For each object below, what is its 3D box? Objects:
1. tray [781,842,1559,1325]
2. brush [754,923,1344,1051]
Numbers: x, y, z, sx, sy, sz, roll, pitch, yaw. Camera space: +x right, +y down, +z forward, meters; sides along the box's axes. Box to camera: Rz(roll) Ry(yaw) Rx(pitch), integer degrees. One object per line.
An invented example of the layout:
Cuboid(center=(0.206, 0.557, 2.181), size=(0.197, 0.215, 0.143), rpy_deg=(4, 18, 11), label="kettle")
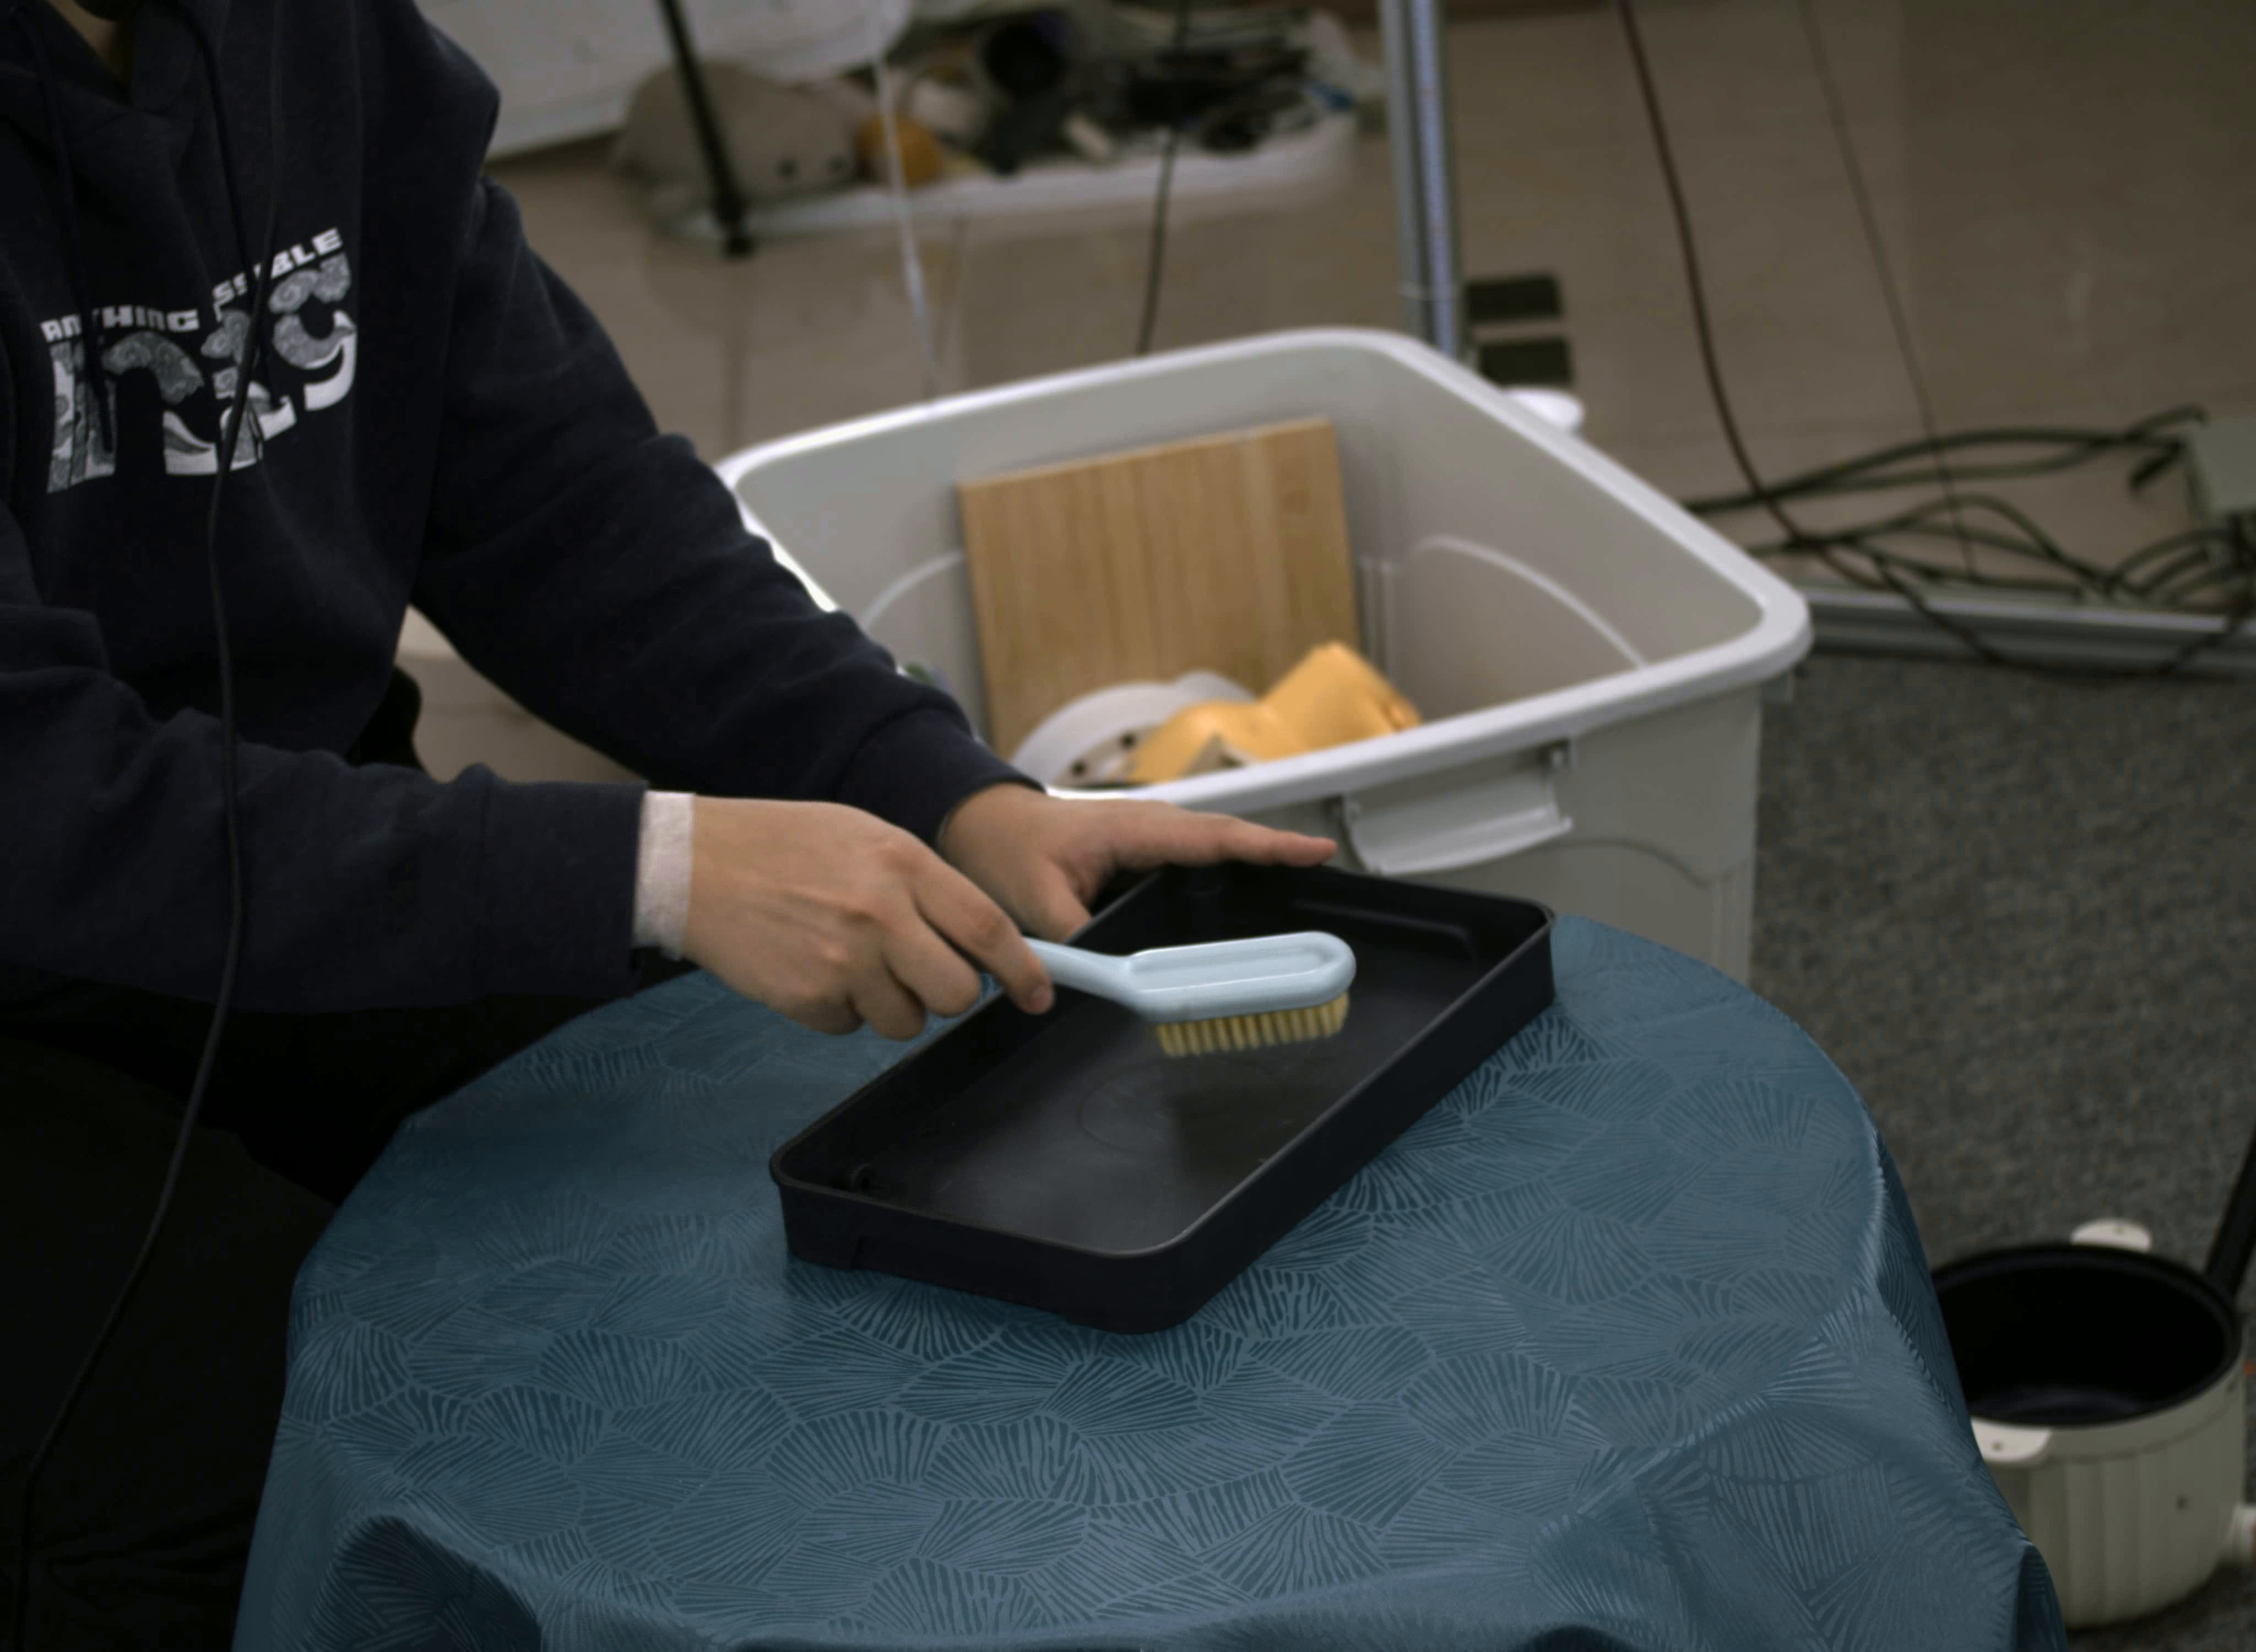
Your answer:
Cuboid(center=(0.023, 0.094, 2.198), size=(0.183, 0.037, 0.314), rpy_deg=(9, 29, 31), label="tray")
Cuboid(center=(-0.031, 0.061, 2.202), size=(0.228, 0.050, 0.037), rpy_deg=(1, 46, -3), label="brush")
